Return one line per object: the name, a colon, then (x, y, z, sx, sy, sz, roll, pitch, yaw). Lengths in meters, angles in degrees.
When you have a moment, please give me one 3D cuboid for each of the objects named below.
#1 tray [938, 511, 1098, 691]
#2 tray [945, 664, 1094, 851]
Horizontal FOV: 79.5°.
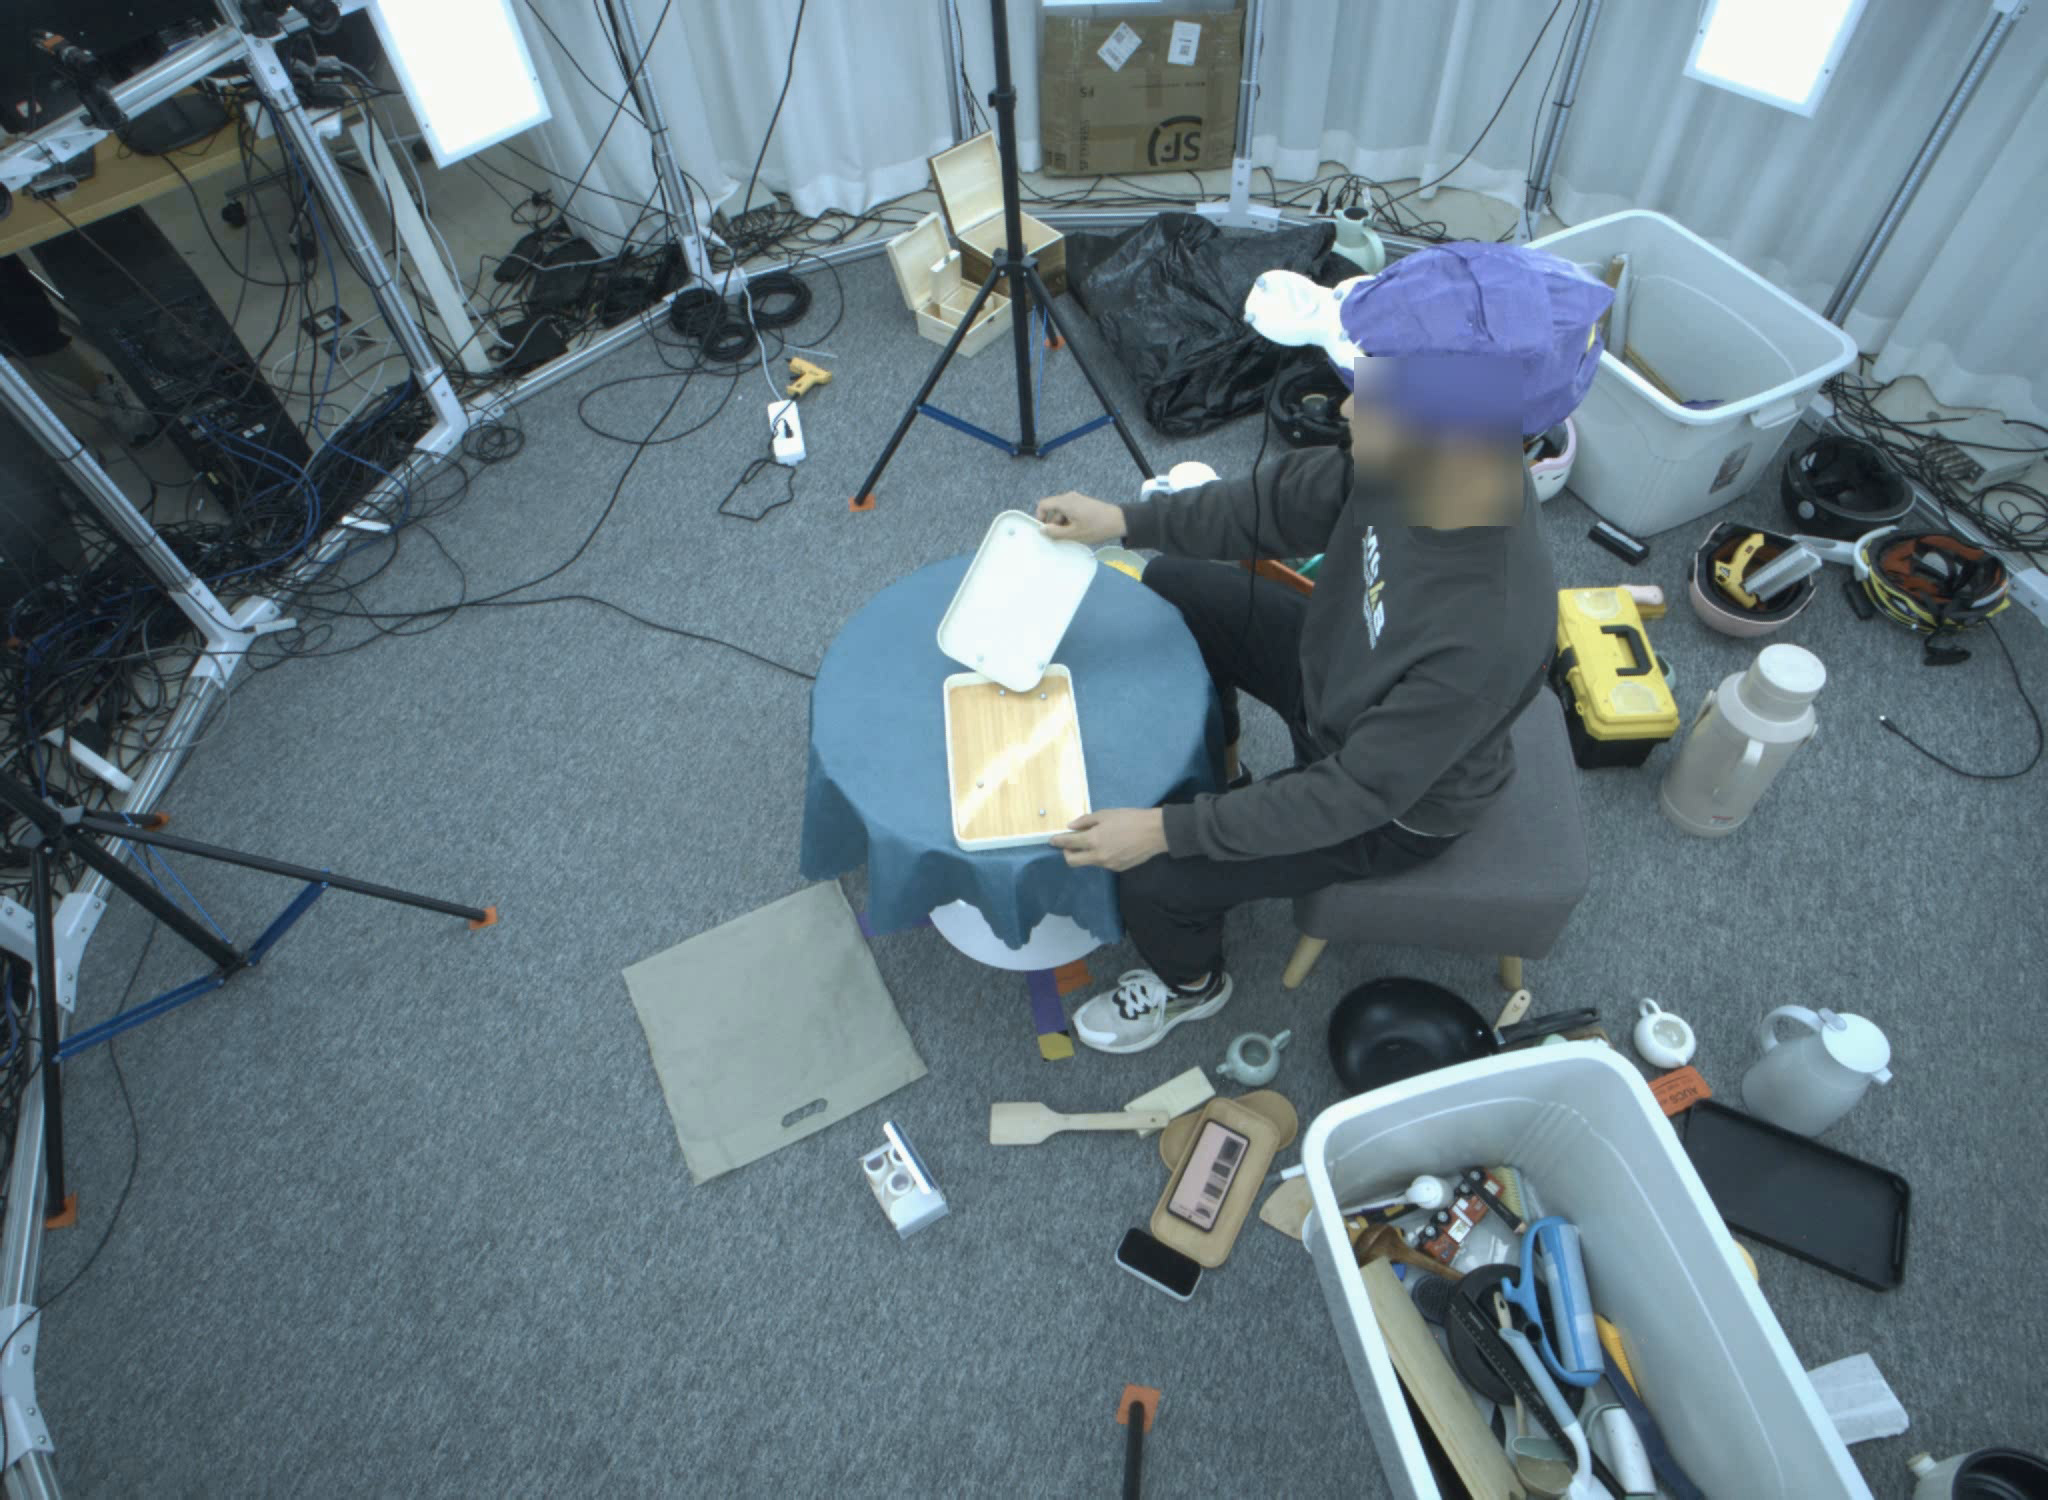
tray: (-0.010, -0.221, 1.821, 0.171, 0.017, 0.239, 28, 95, 0)
tray: (-0.010, 0.005, 1.766, 0.192, 0.028, 0.296, -5, 55, -3)
